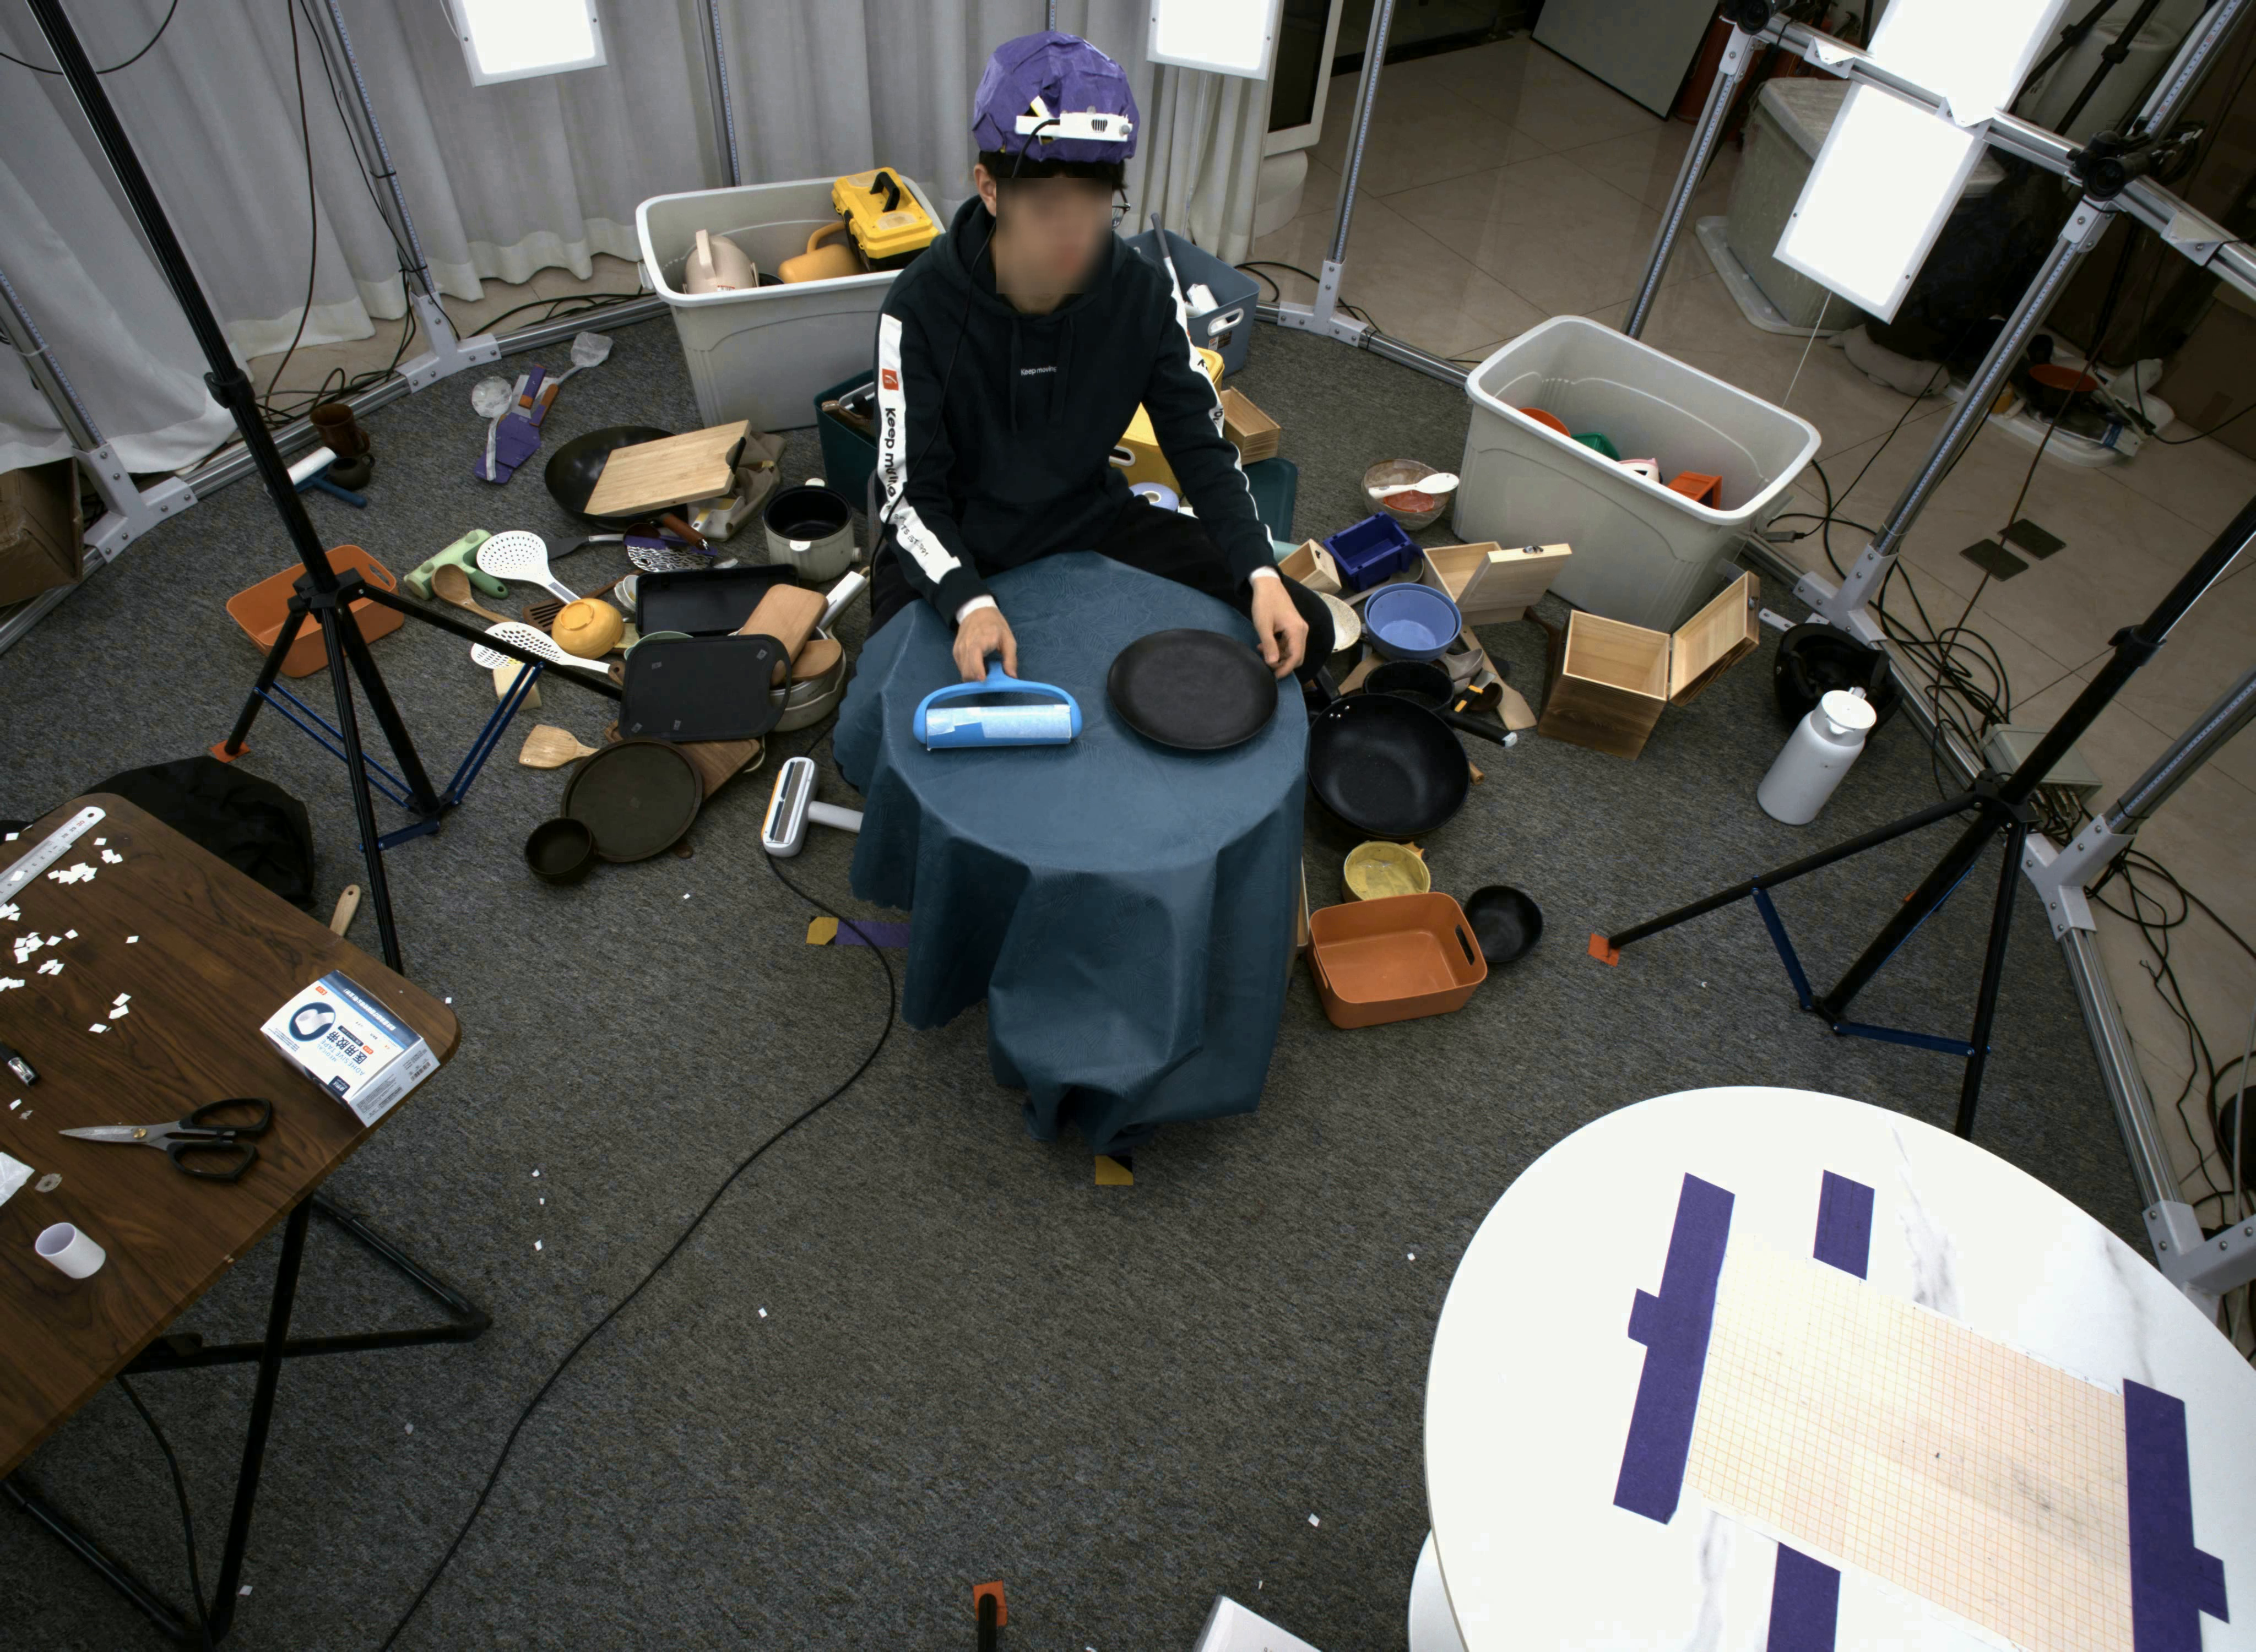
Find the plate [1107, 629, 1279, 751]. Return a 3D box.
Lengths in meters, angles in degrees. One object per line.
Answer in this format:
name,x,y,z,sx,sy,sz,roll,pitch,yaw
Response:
plate,0.092,-0.191,1.825,0.244,0.023,0.250,2,49,-2

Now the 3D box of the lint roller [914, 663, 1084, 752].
lint roller,-0.183,-0.179,1.776,0.228,0.066,0.185,-6,50,-7
